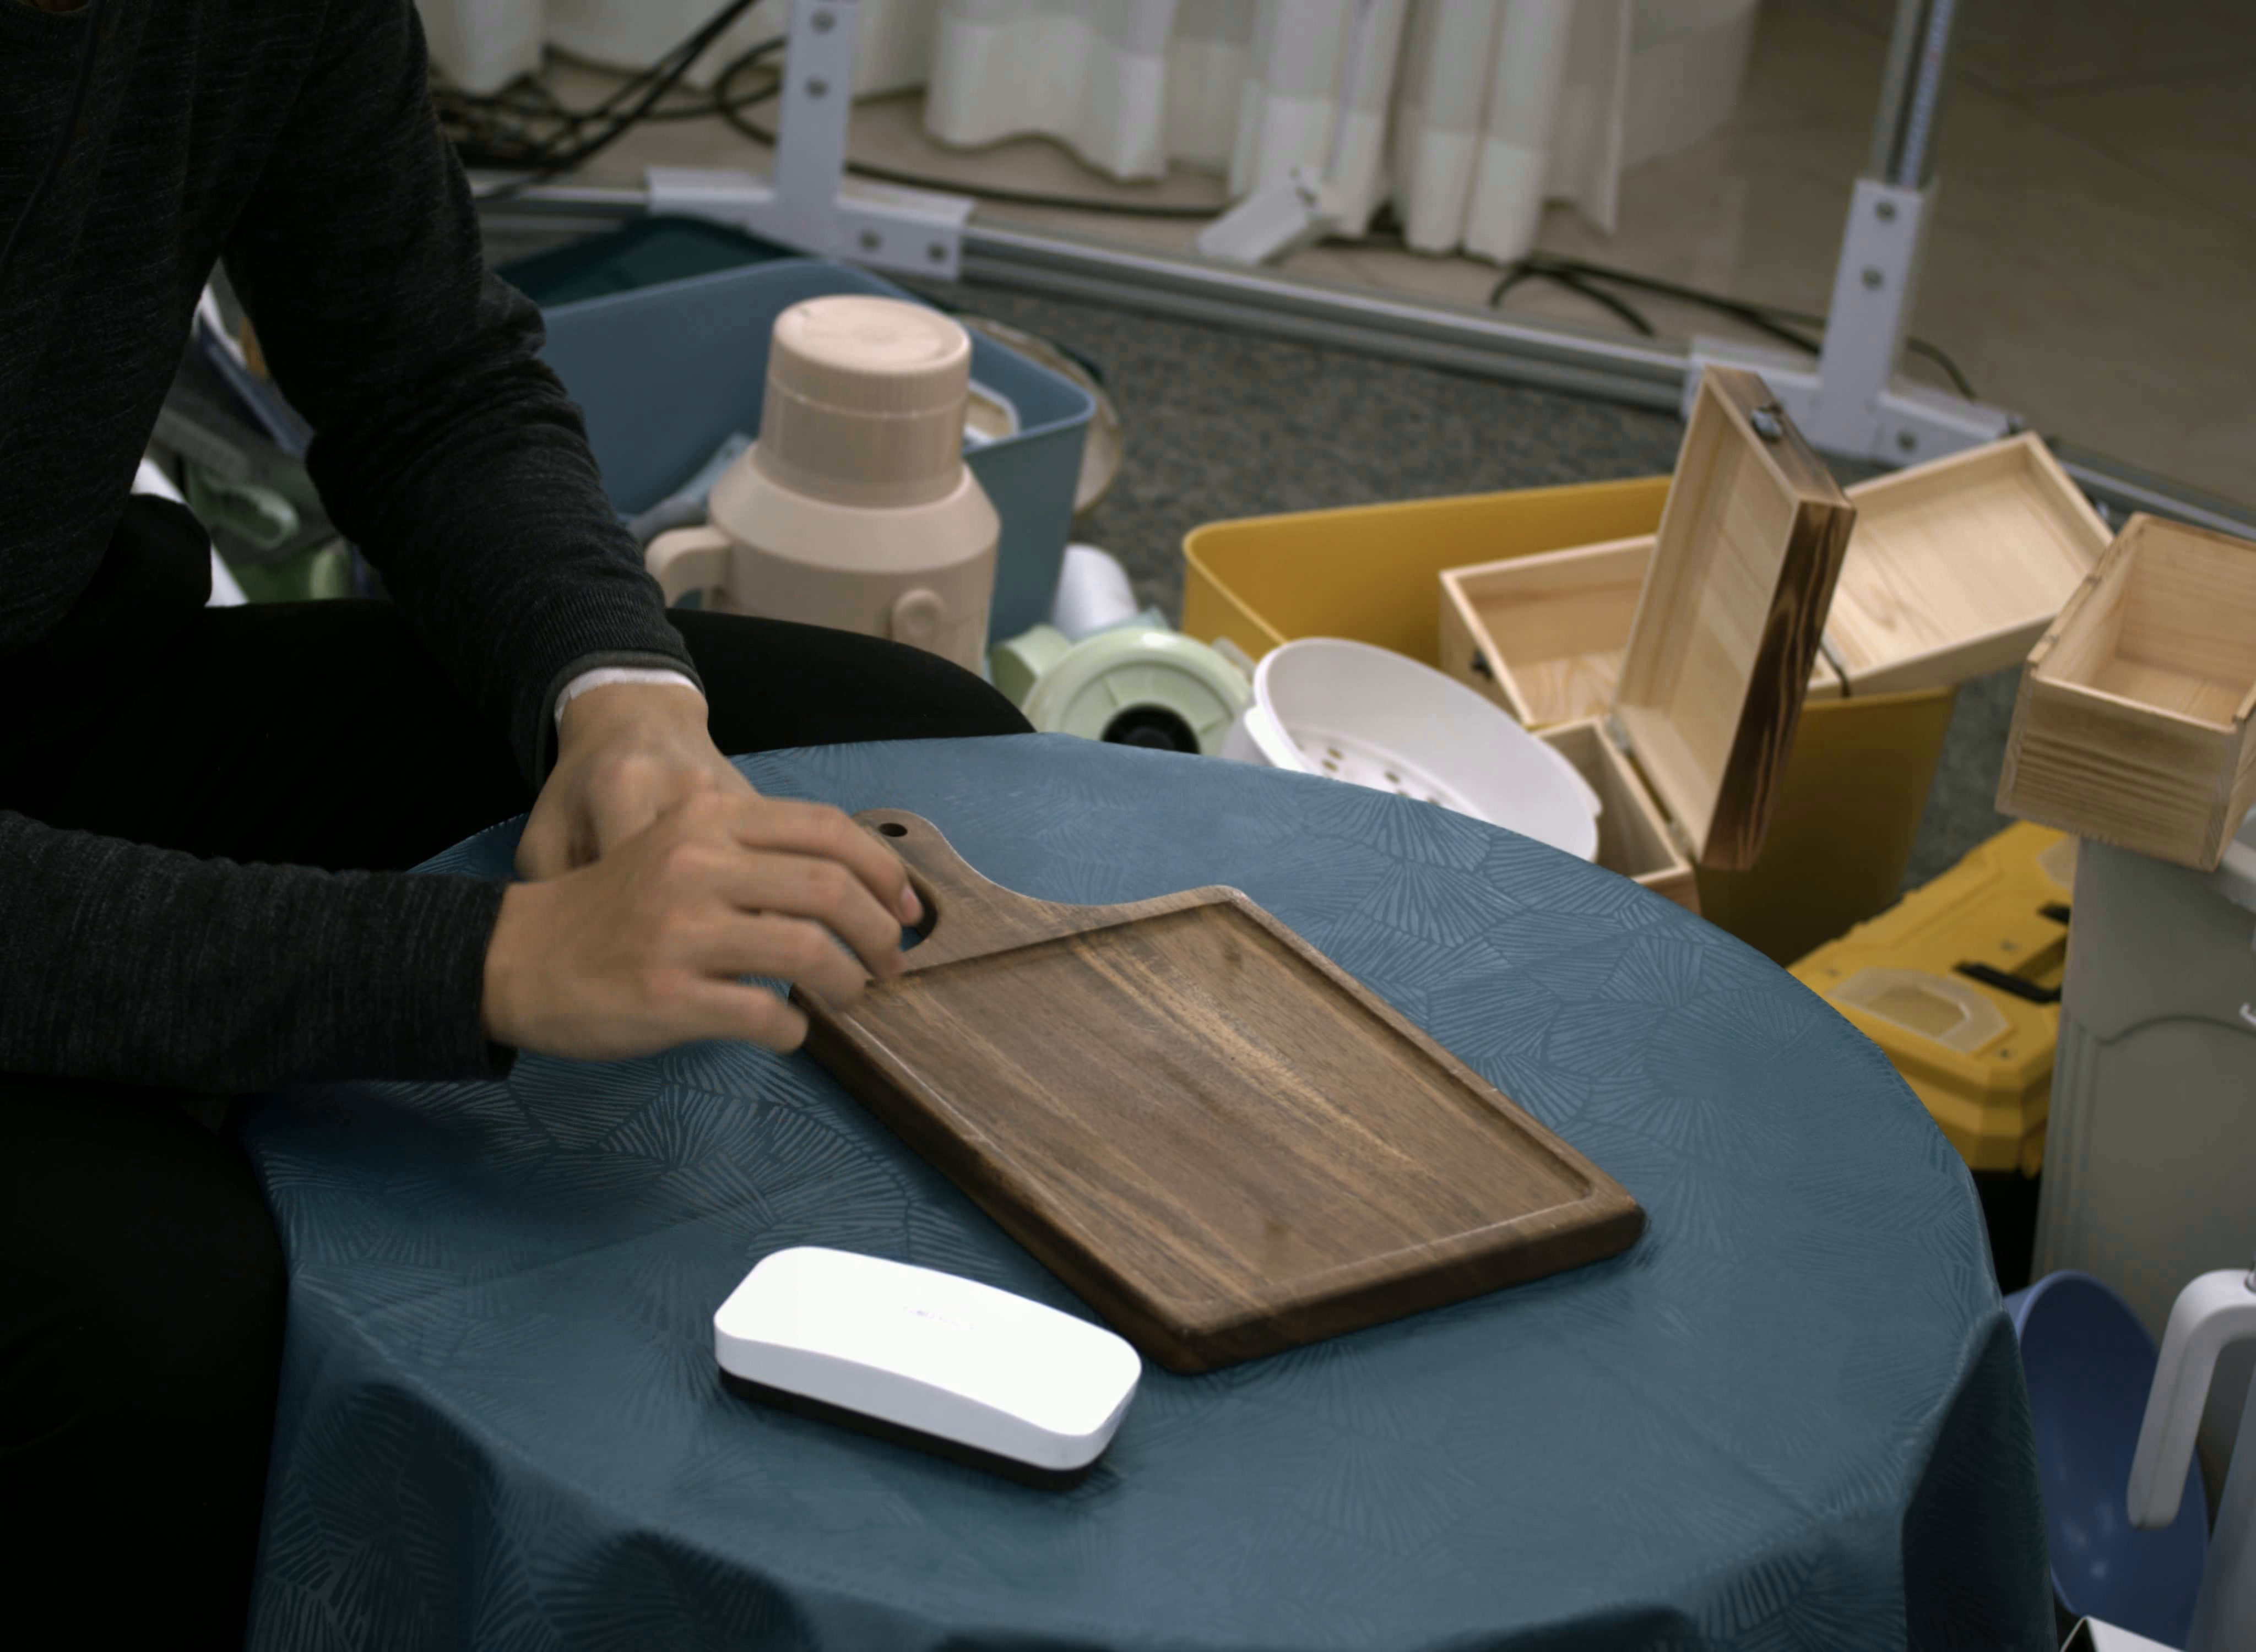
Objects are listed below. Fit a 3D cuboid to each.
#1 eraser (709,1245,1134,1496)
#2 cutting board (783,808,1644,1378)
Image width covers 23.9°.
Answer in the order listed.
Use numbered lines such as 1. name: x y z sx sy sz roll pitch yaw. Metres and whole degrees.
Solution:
1. eraser: -0.065 0.167 1.667 0.131 0.034 0.063 17 30 16
2. cutting board: -0.001 0.077 1.869 0.200 0.023 0.355 -12 32 -33
